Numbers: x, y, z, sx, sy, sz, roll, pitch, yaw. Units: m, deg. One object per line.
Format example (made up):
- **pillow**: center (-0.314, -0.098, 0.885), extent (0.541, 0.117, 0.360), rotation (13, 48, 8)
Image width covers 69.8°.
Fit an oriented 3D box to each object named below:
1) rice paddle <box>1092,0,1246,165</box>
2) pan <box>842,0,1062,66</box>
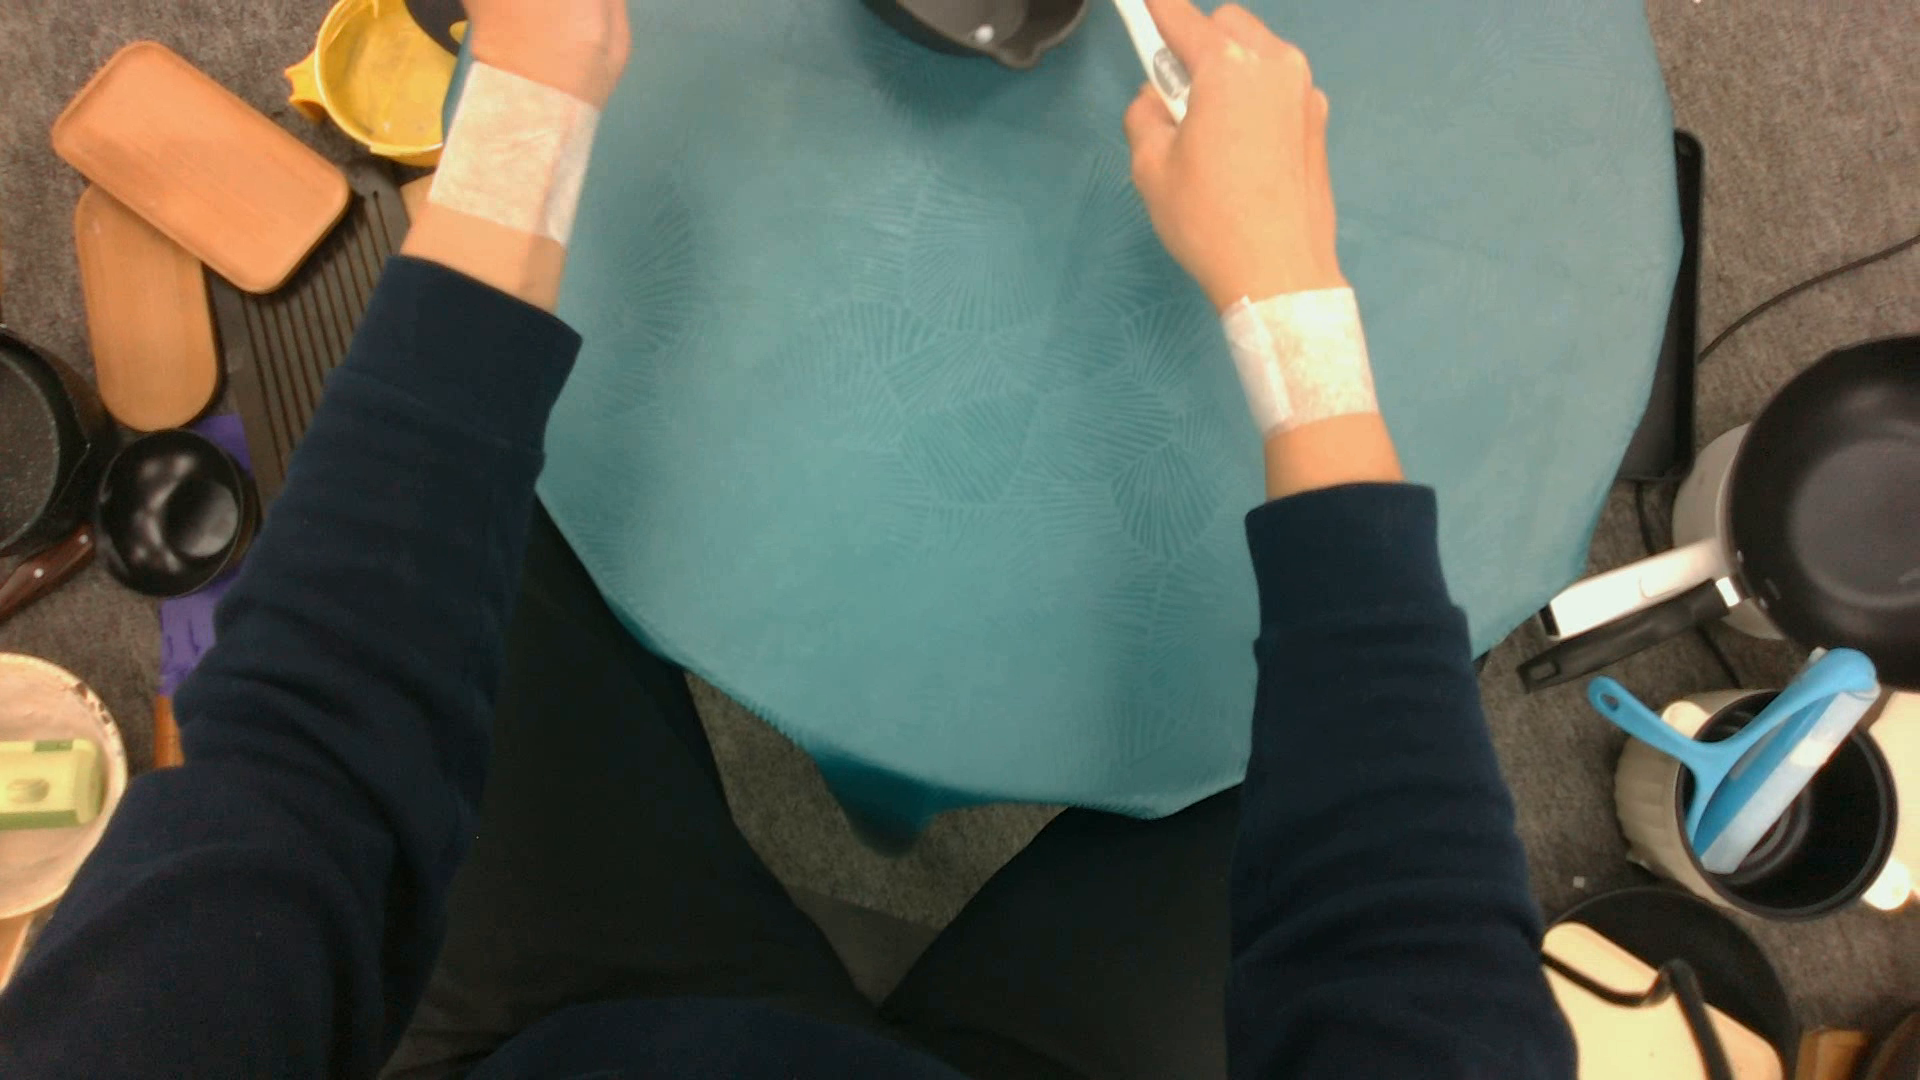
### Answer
- **rice paddle**: center (0.062, -0.253, 0.618), extent (0.068, 0.029, 0.205), rotation (-44, 64, 34)
- **pan**: center (-0.077, -0.271, 0.564), extent (0.325, 0.049, 0.169), rotation (-16, 87, -41)
